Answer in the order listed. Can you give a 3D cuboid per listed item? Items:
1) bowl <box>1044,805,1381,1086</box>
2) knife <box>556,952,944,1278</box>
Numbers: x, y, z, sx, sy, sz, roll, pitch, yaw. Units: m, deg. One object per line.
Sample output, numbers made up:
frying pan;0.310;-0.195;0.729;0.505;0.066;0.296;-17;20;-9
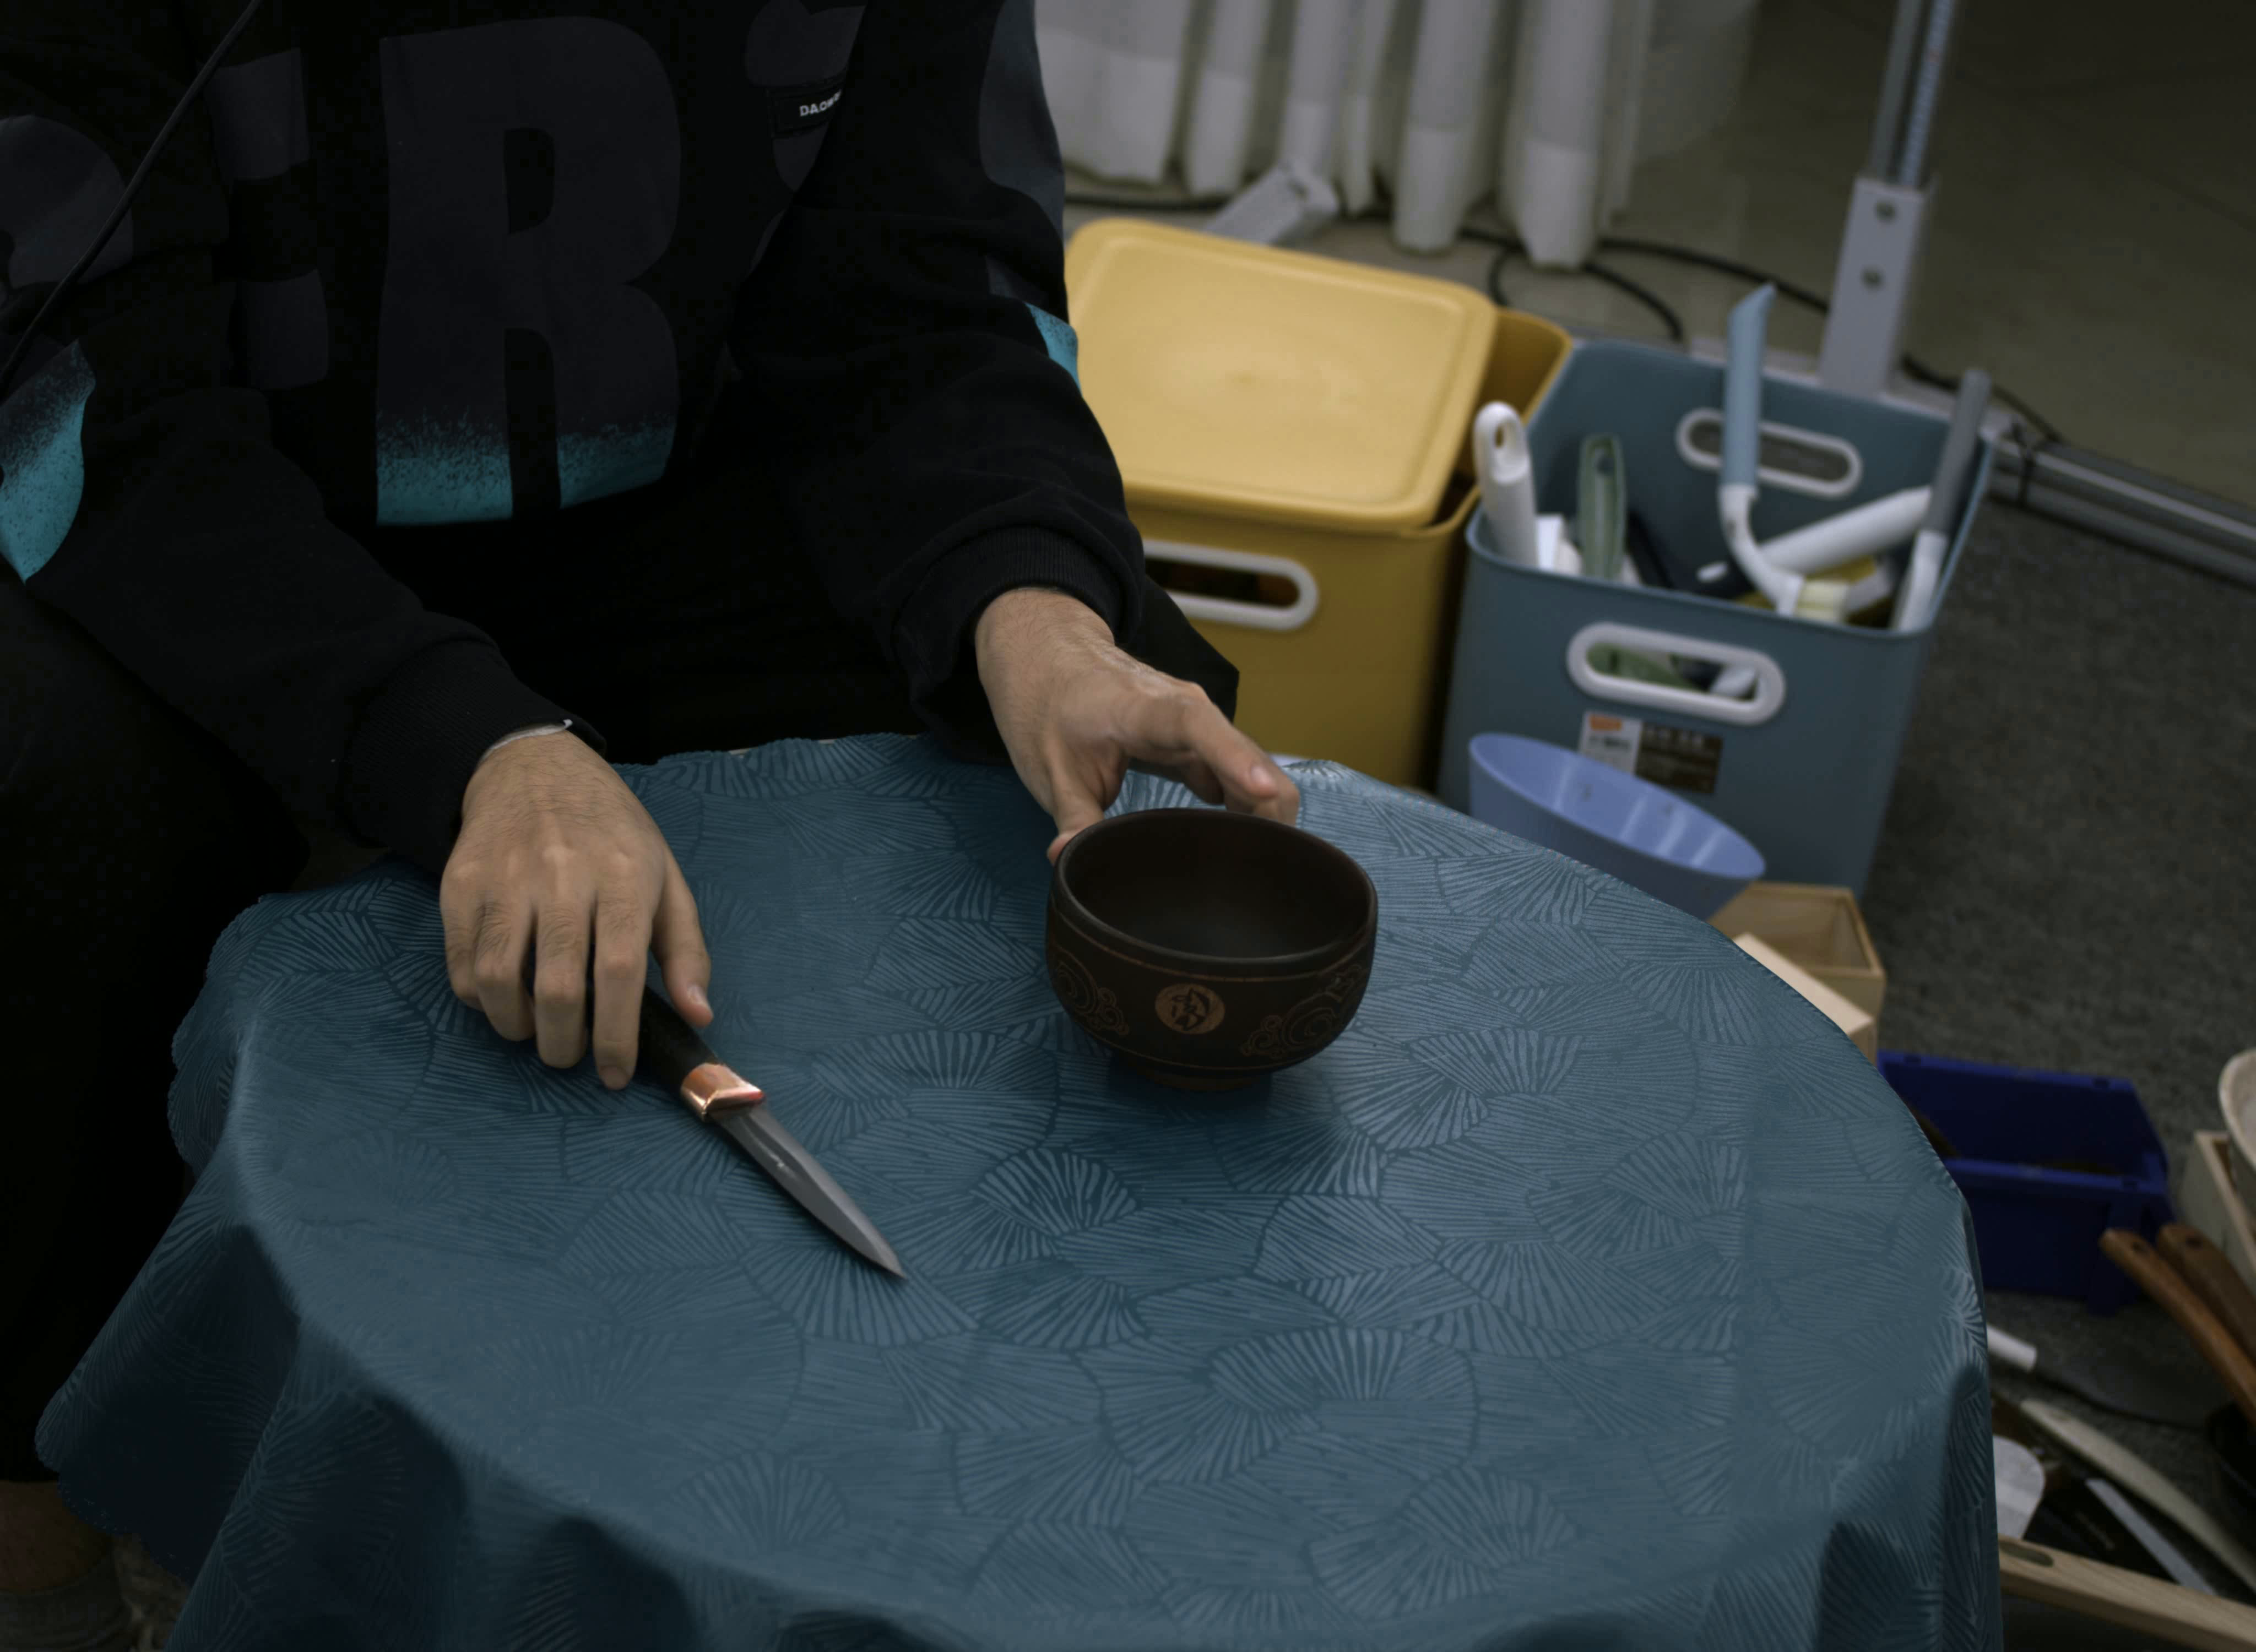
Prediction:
bowl;0.027;0.048;1.874;0.117;0.069;0.119;6;25;-3
knife;-0.132;0.098;1.811;0.026;0.017;0.227;-6;30;-37
